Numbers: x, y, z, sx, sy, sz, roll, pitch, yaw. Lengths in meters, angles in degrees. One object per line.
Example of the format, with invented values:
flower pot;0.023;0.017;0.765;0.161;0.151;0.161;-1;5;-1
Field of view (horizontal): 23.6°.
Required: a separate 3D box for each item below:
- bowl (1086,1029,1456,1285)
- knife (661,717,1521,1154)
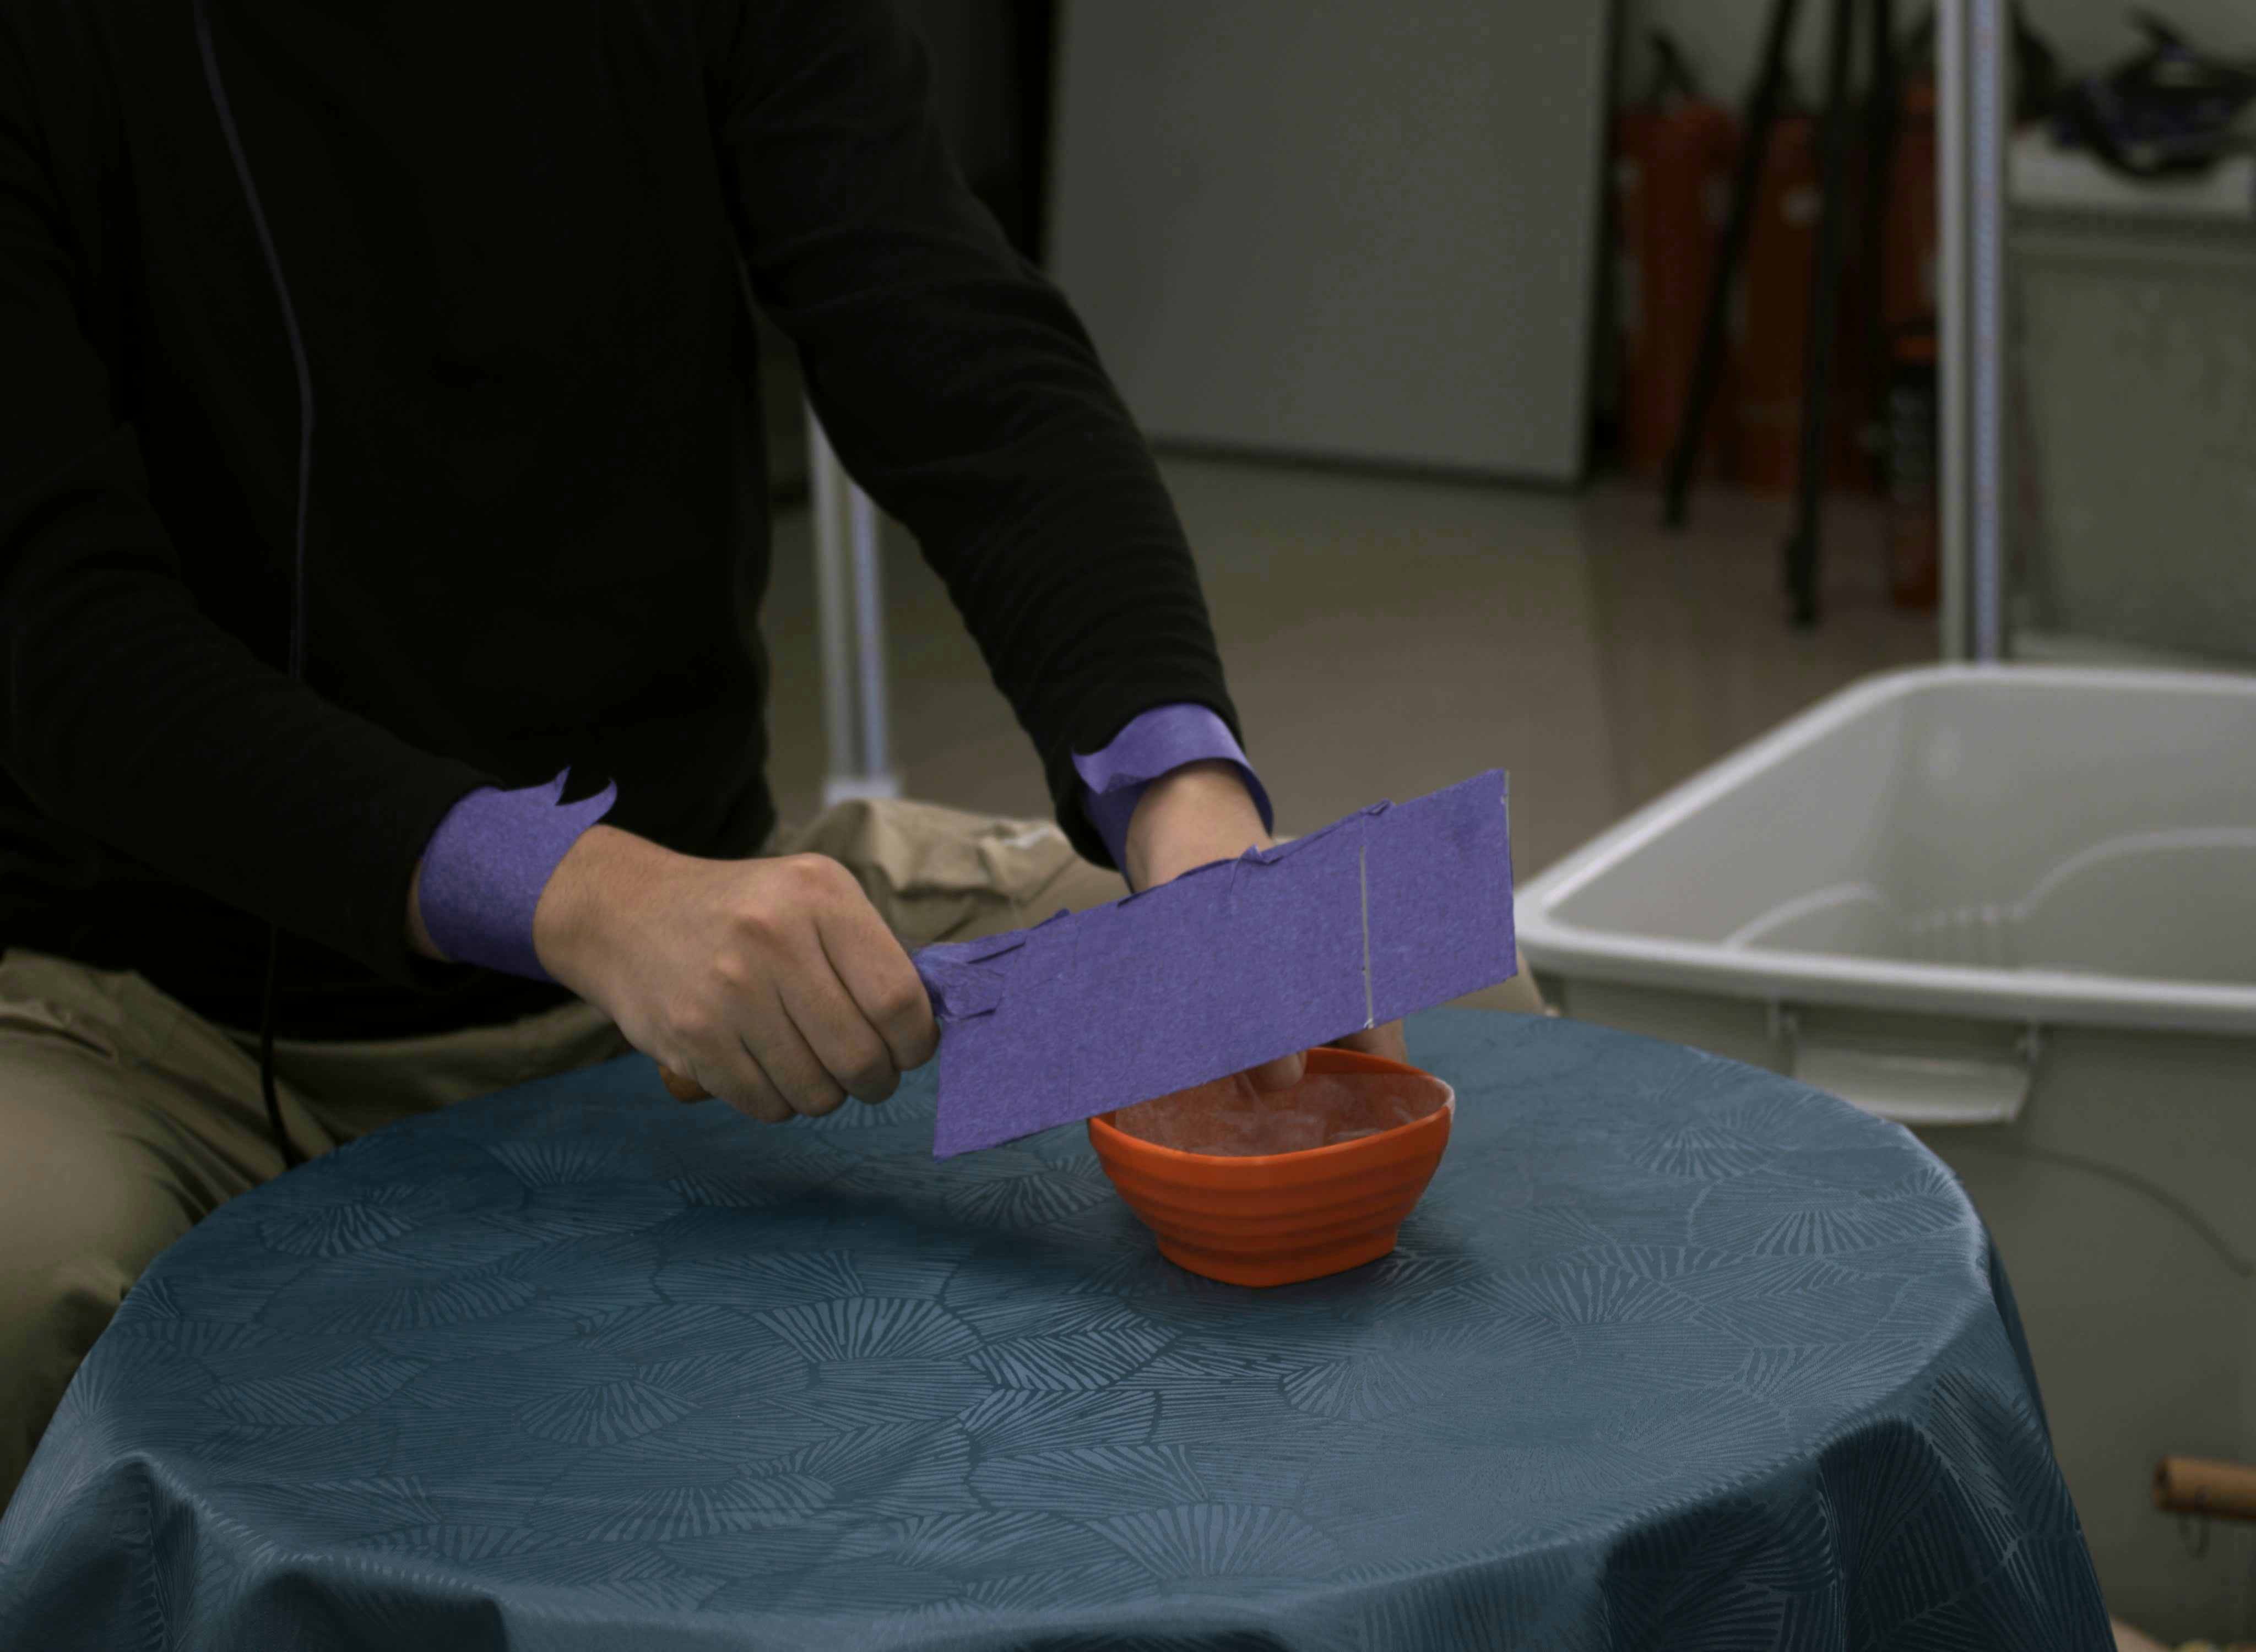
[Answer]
bowl;0.046;0.106;1.700;0.117;0.052;0.119;-4;17;0
knife;-0.017;0.053;1.726;0.316;0.032;0.104;-22;40;24
